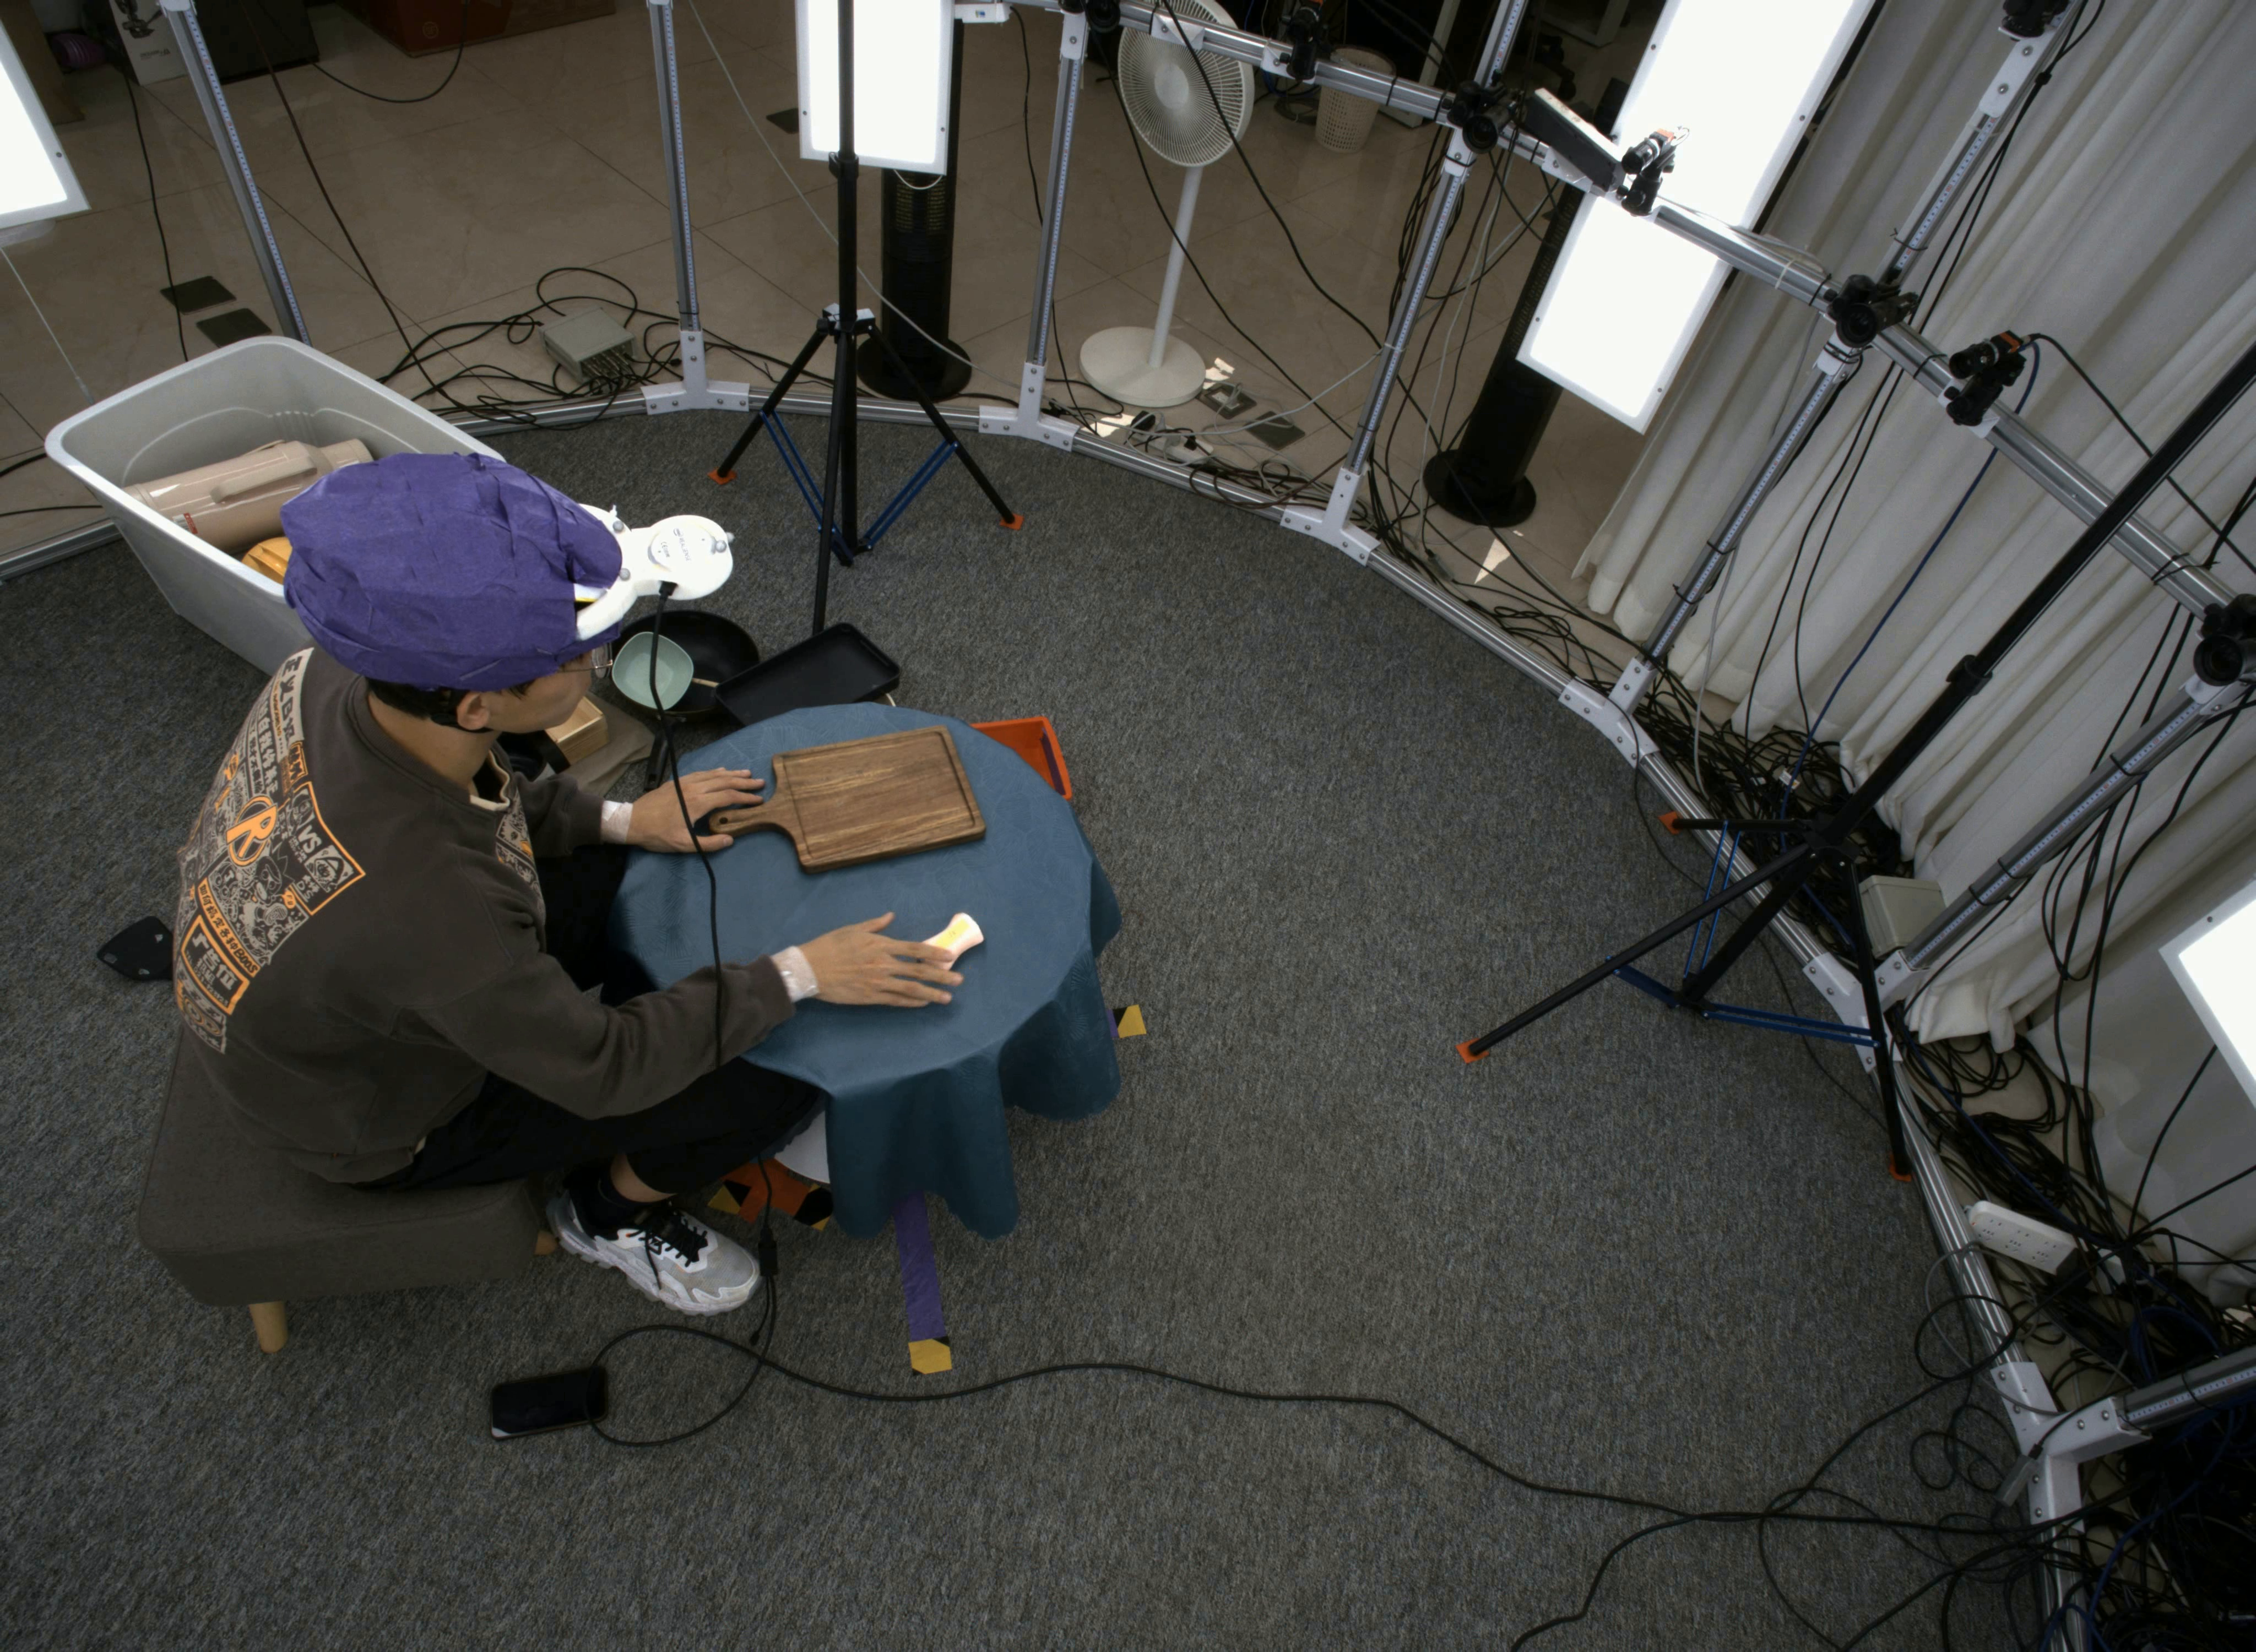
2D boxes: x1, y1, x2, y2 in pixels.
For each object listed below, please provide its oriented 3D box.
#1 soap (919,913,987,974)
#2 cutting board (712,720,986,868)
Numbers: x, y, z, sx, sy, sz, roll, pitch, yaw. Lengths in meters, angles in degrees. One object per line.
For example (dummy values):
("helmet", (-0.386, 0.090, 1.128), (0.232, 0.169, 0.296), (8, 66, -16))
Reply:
("soap", (-0.223, 0.147, 1.661), (0.049, 0.031, 0.094), (38, 56, 17))
("cutting board", (-0.386, -0.040, 1.764), (0.353, 0.023, 0.196), (-11, 58, -21))
